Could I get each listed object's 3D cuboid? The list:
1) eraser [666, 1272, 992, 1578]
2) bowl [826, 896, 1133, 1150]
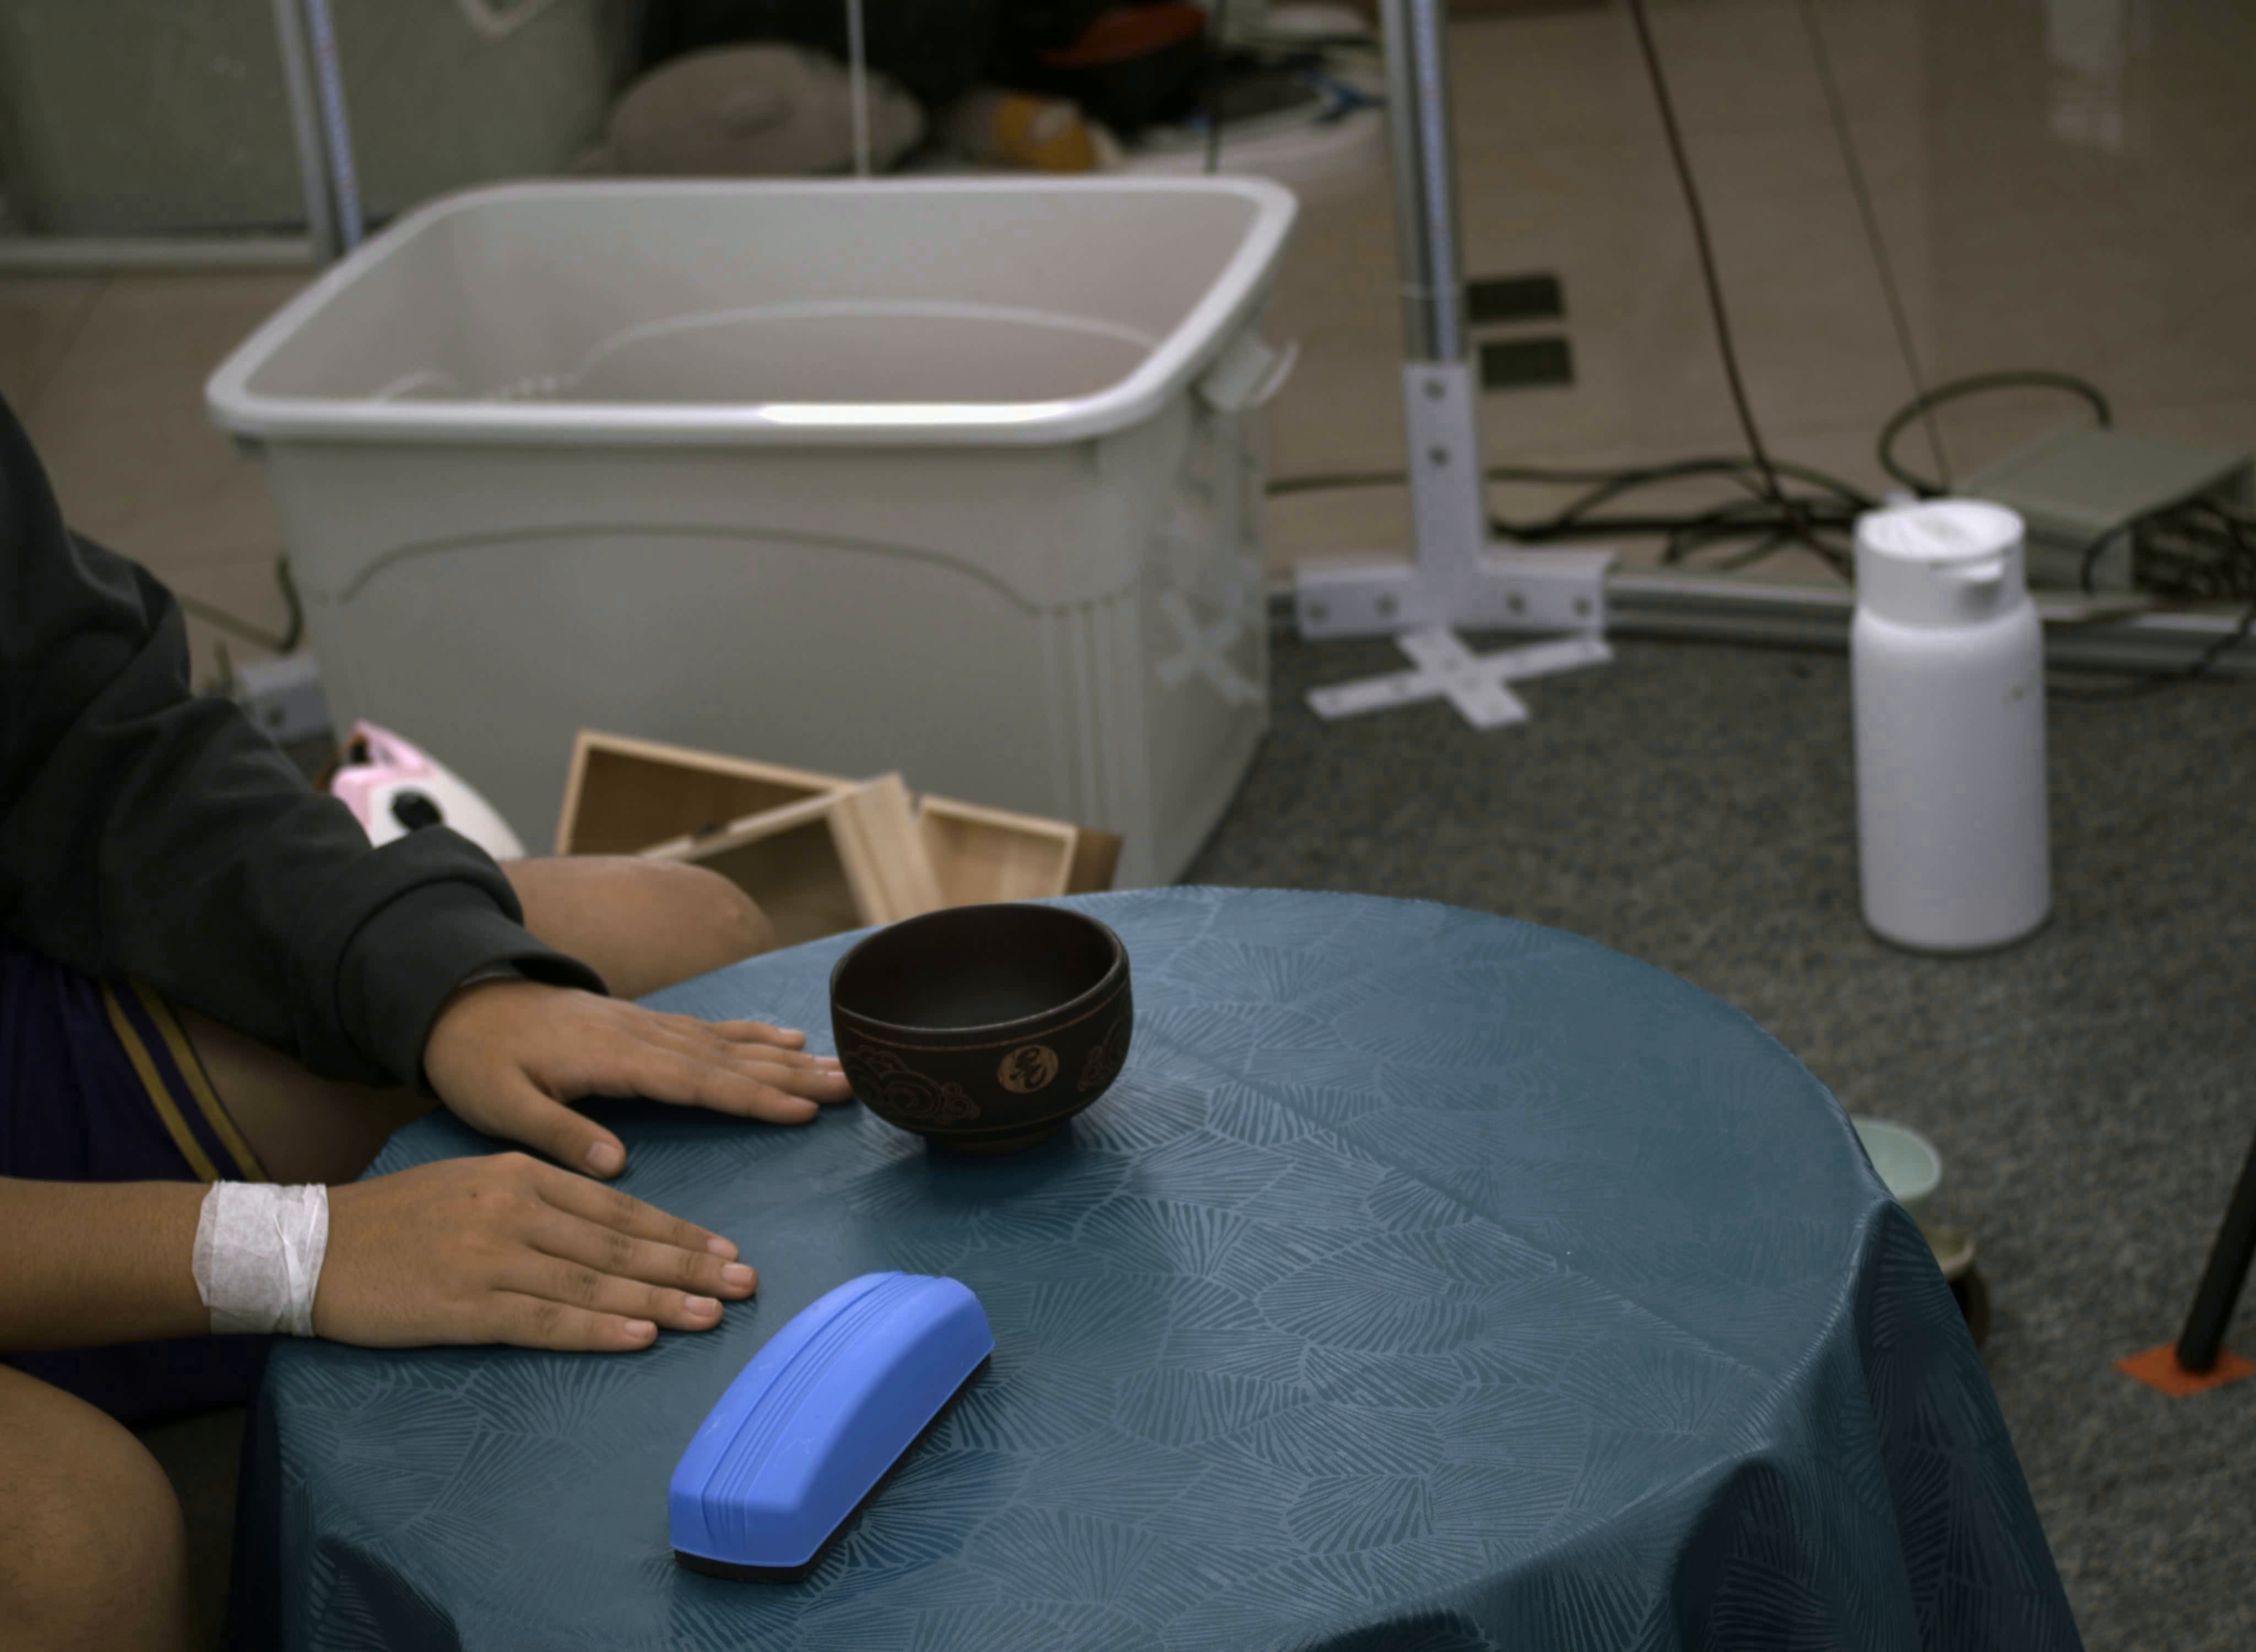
[{"bbox_3d":[-0.103,0.202,1.981,0.053,0.048,0.160,6,27,23],"label":"eraser"},{"bbox_3d":[-0.055,0.082,2.194,0.118,0.071,0.116,-6,26,3],"label":"bowl"}]
